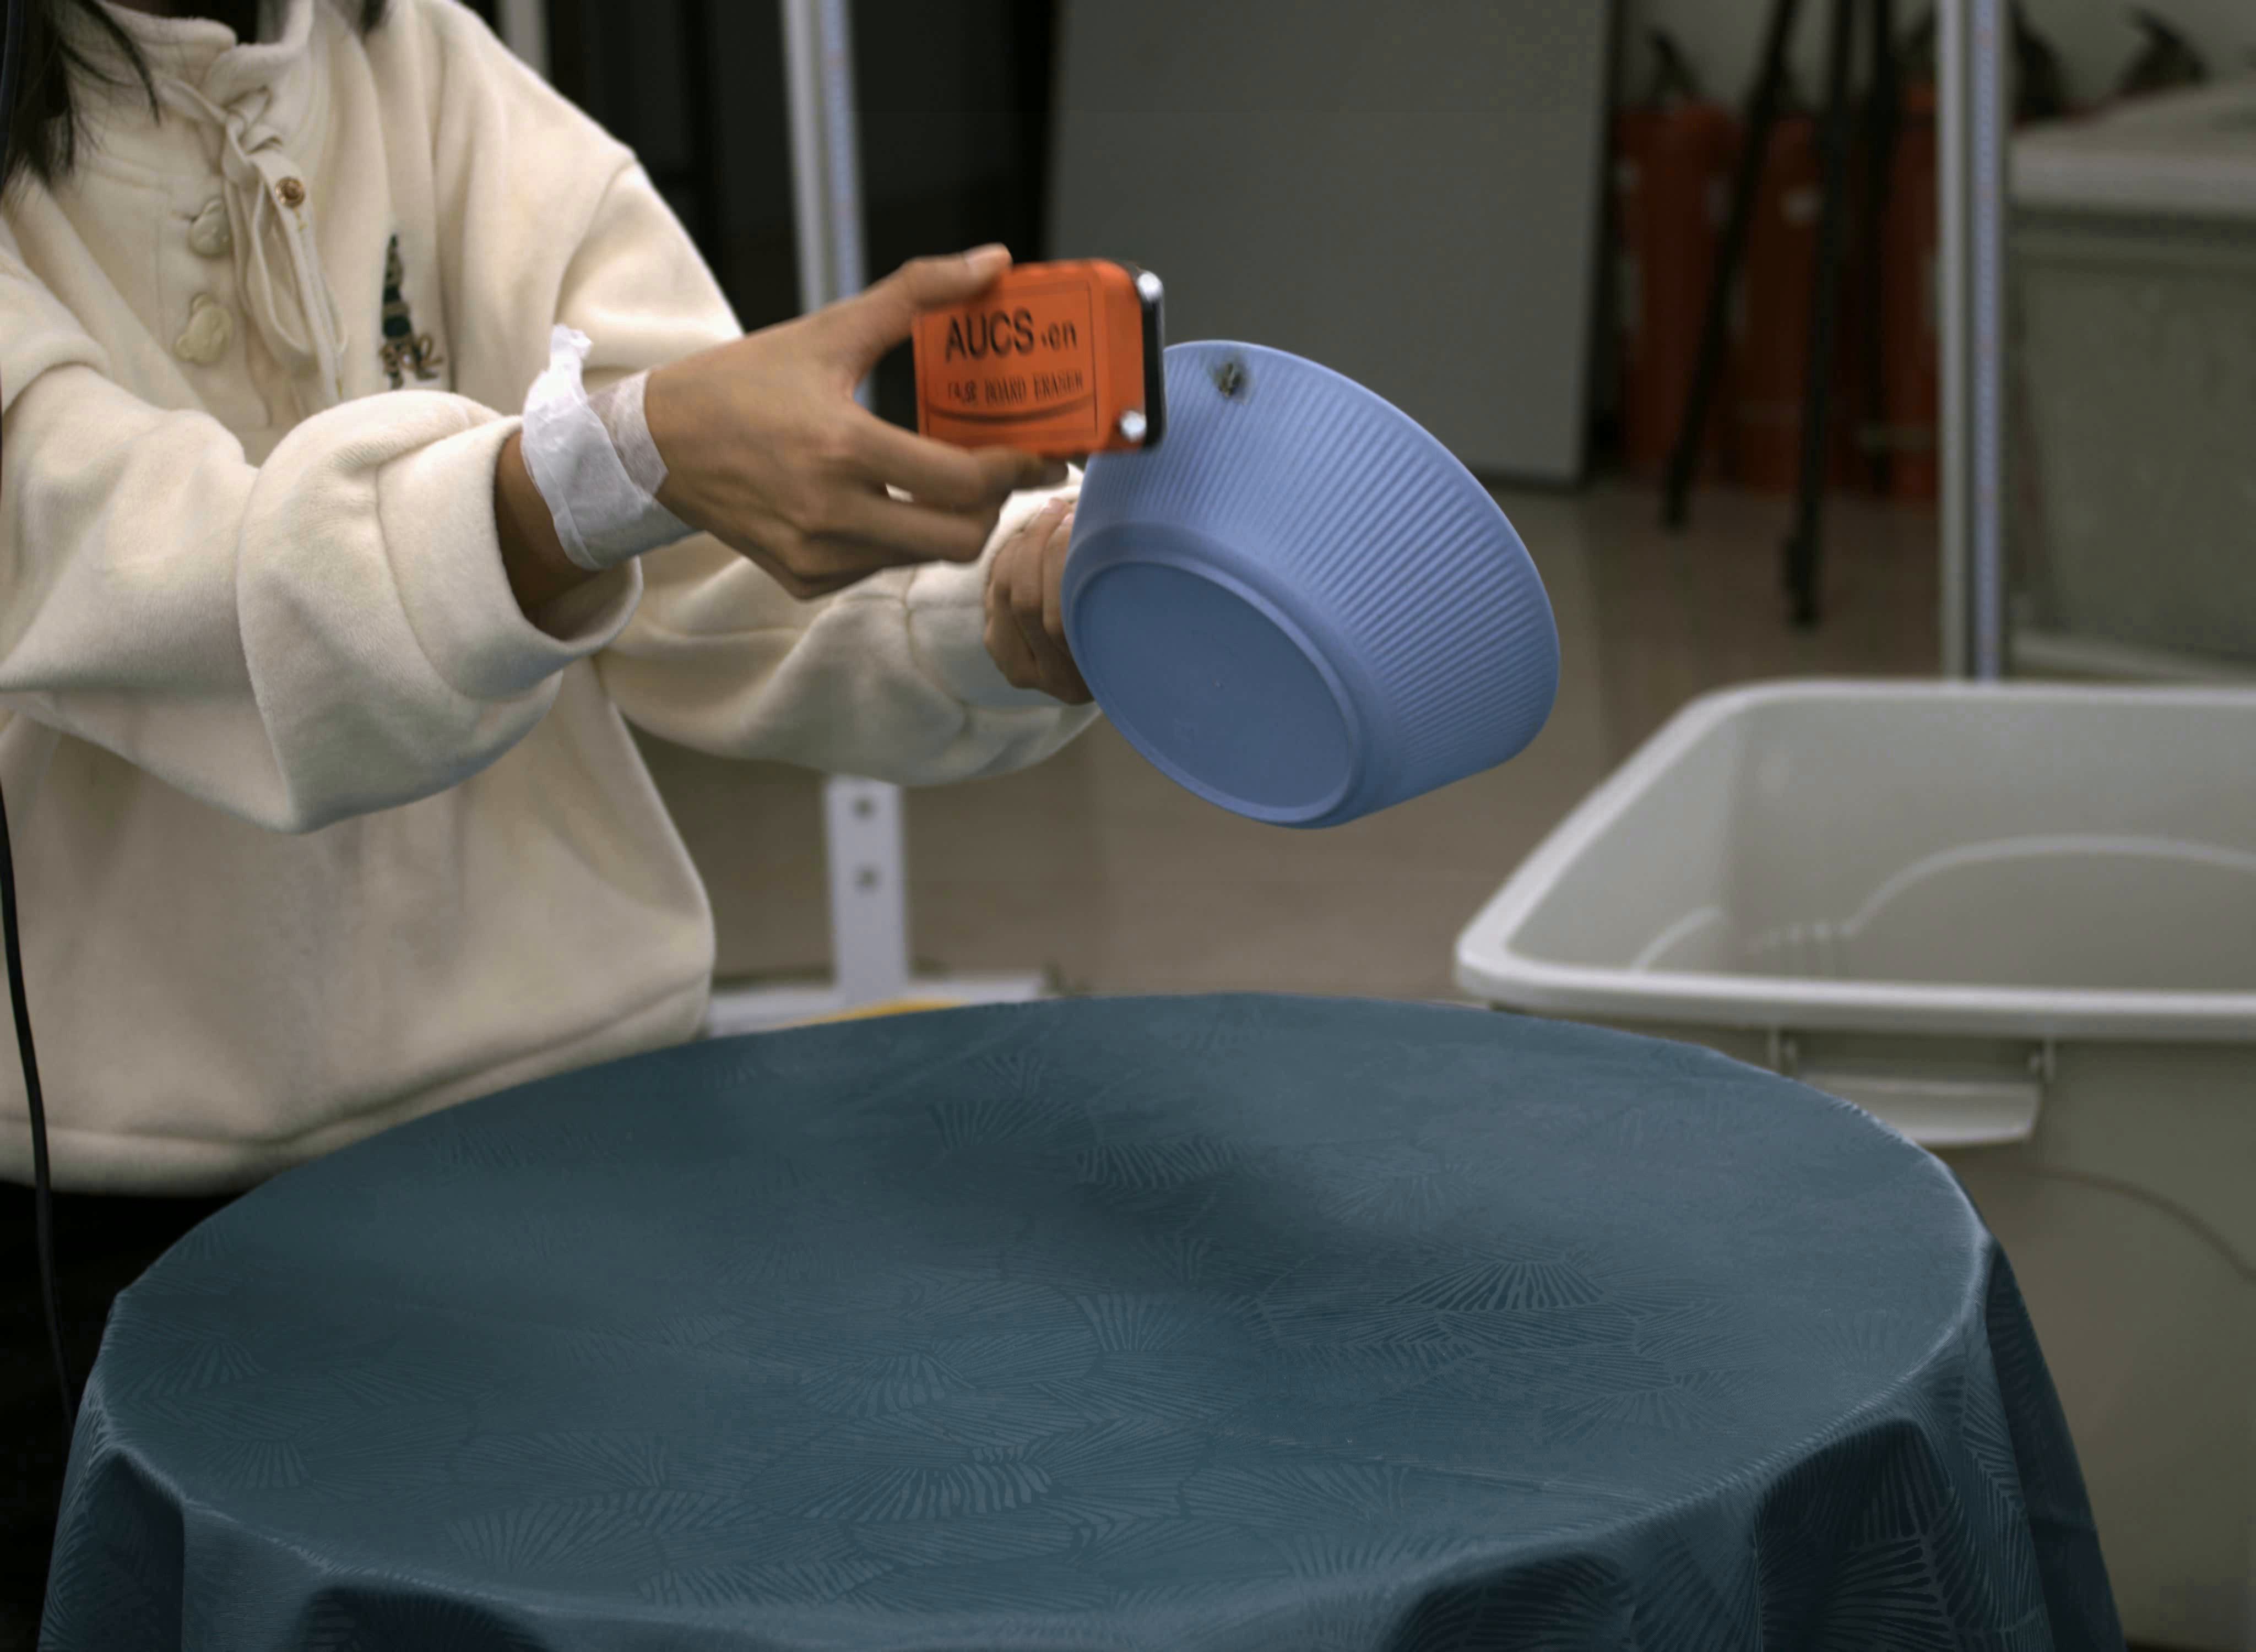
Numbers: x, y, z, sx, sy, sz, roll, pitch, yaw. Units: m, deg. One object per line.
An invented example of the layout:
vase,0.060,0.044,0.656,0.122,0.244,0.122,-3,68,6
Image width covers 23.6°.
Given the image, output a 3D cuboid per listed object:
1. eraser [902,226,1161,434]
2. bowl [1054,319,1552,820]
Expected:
eraser,-0.030,-0.149,1.634,0.022,0.060,0.109,-9,6,-33
bowl,0.042,-0.067,1.688,0.177,0.176,0.070,8,45,40
